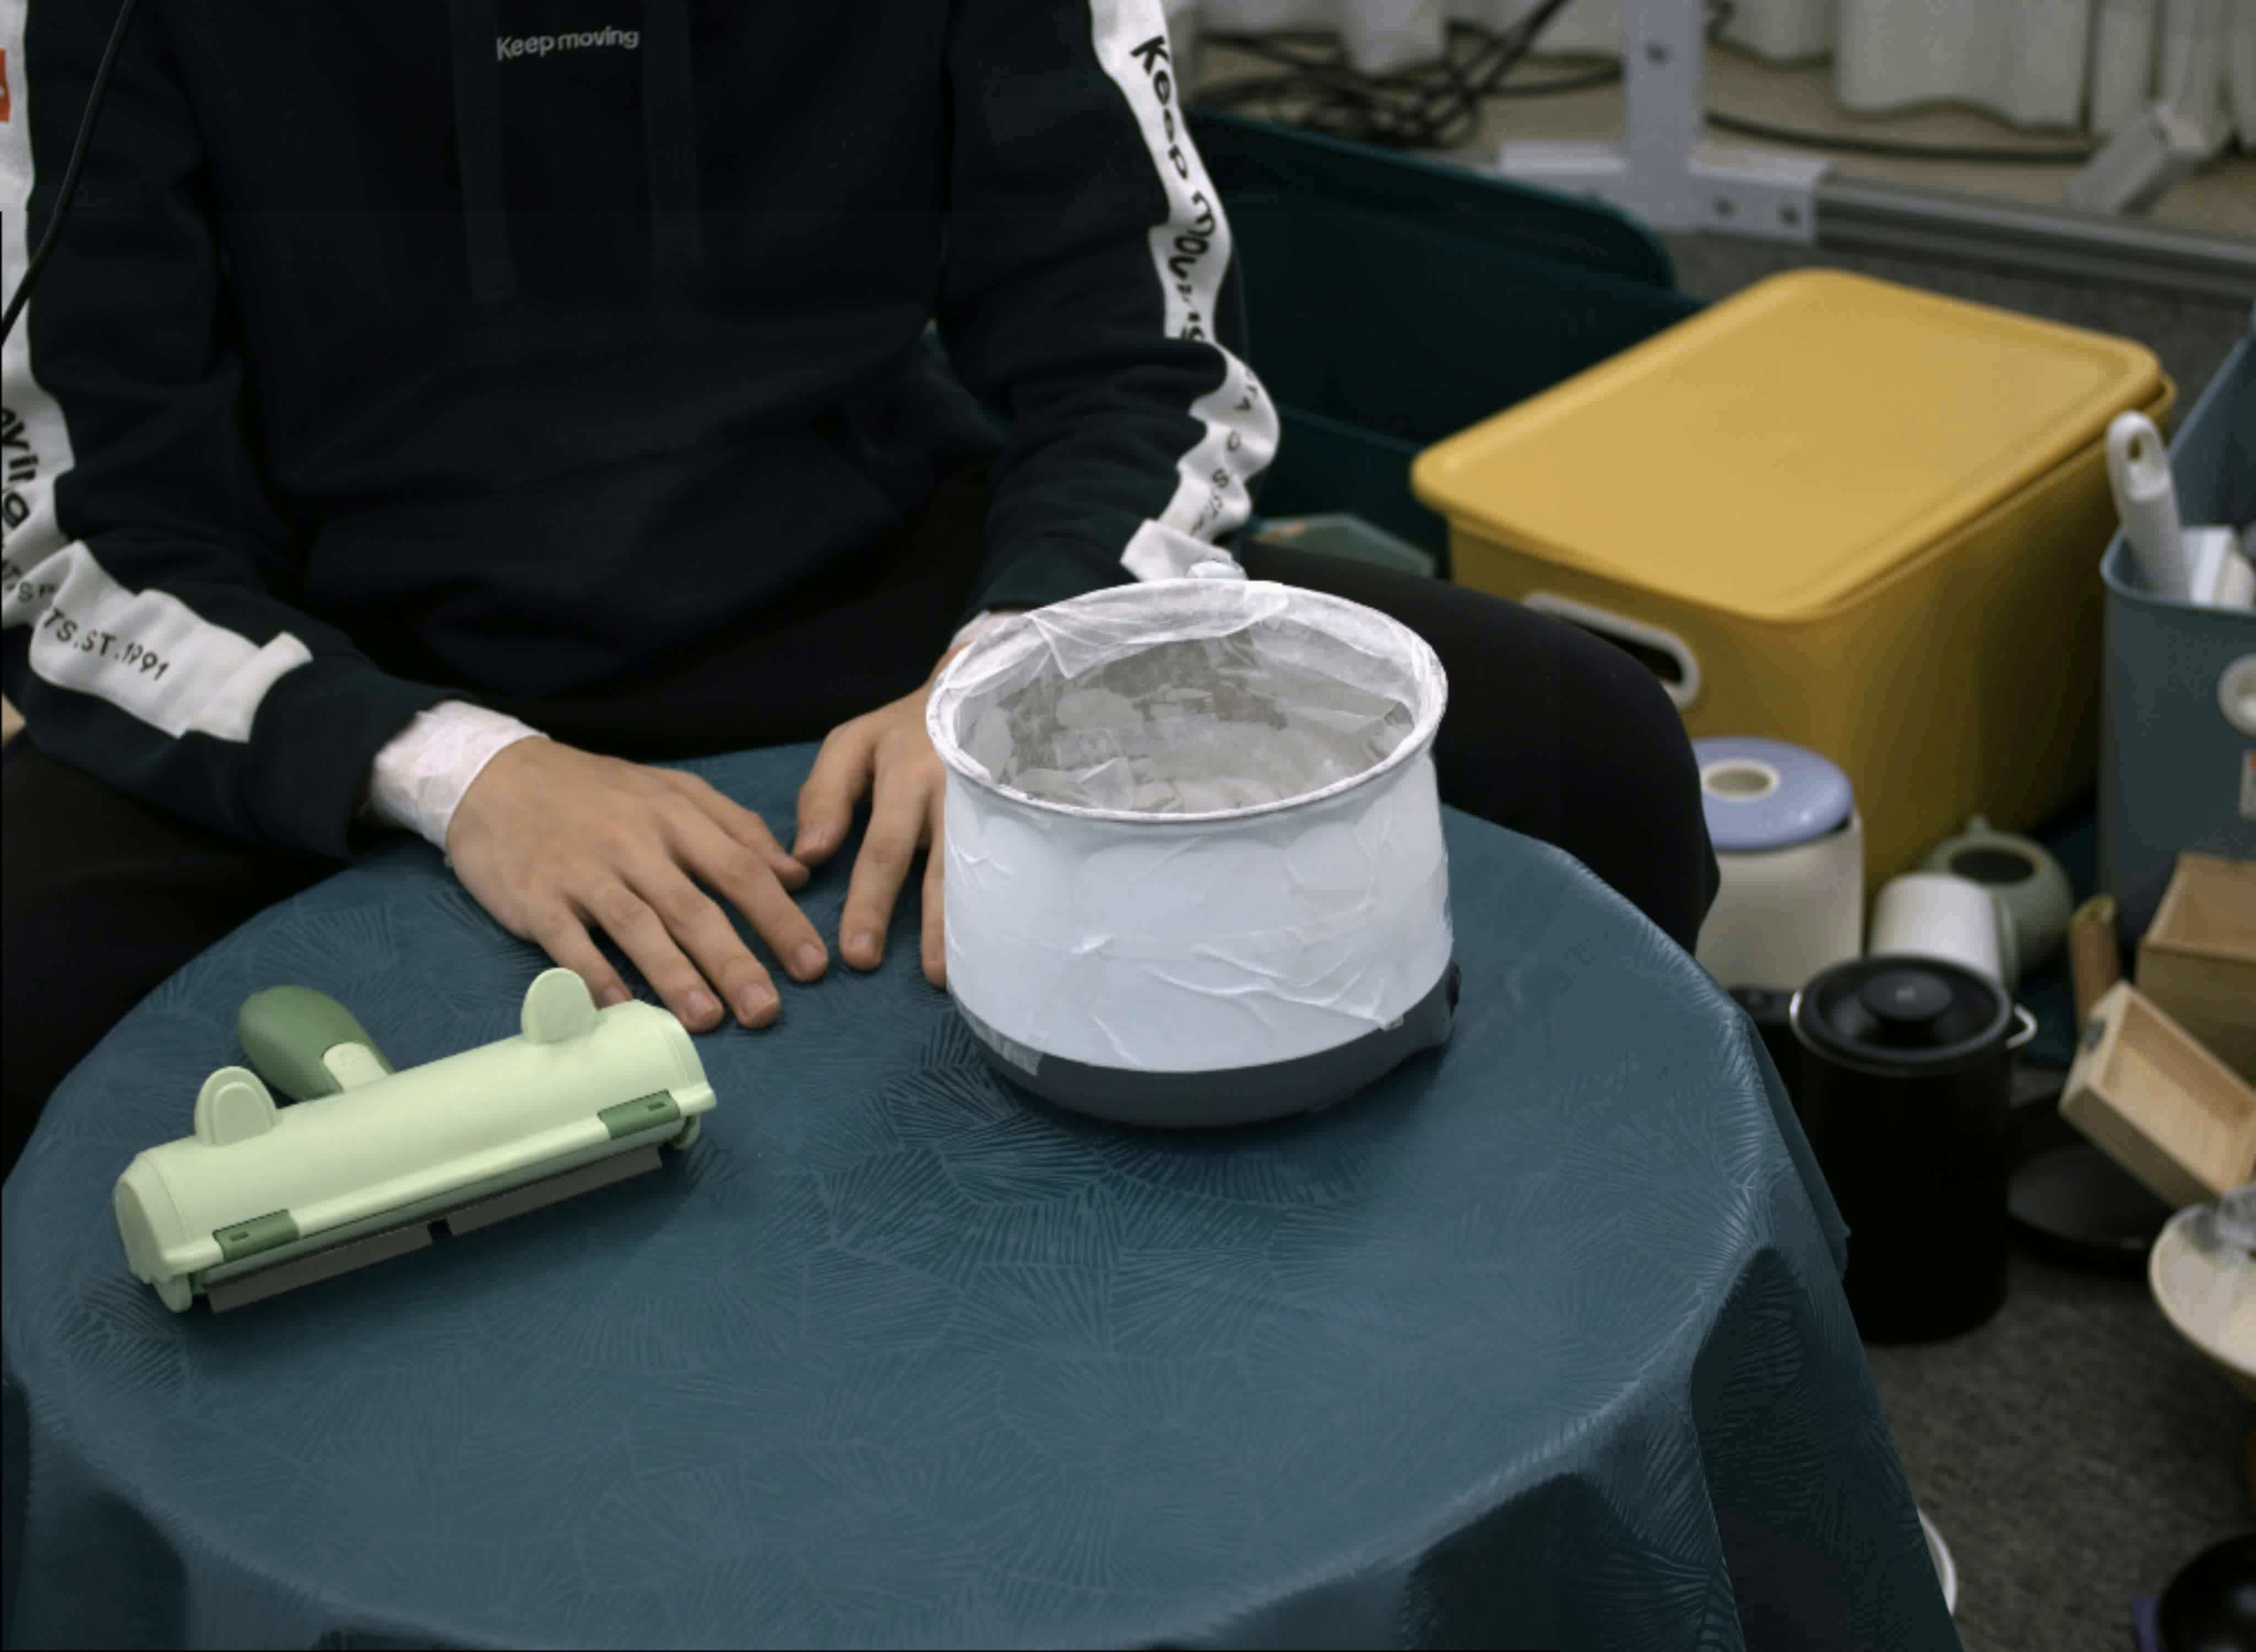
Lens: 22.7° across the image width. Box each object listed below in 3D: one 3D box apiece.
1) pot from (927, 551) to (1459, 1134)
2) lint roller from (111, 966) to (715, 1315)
[{"bbox_3d":[0.026,-0.002,1.946,0.177,0.135,0.237,0,28,5],"label":"pot"},{"bbox_3d":[-0.262,0.078,1.891,0.200,0.081,0.184,-17,35,-24],"label":"lint roller"}]
